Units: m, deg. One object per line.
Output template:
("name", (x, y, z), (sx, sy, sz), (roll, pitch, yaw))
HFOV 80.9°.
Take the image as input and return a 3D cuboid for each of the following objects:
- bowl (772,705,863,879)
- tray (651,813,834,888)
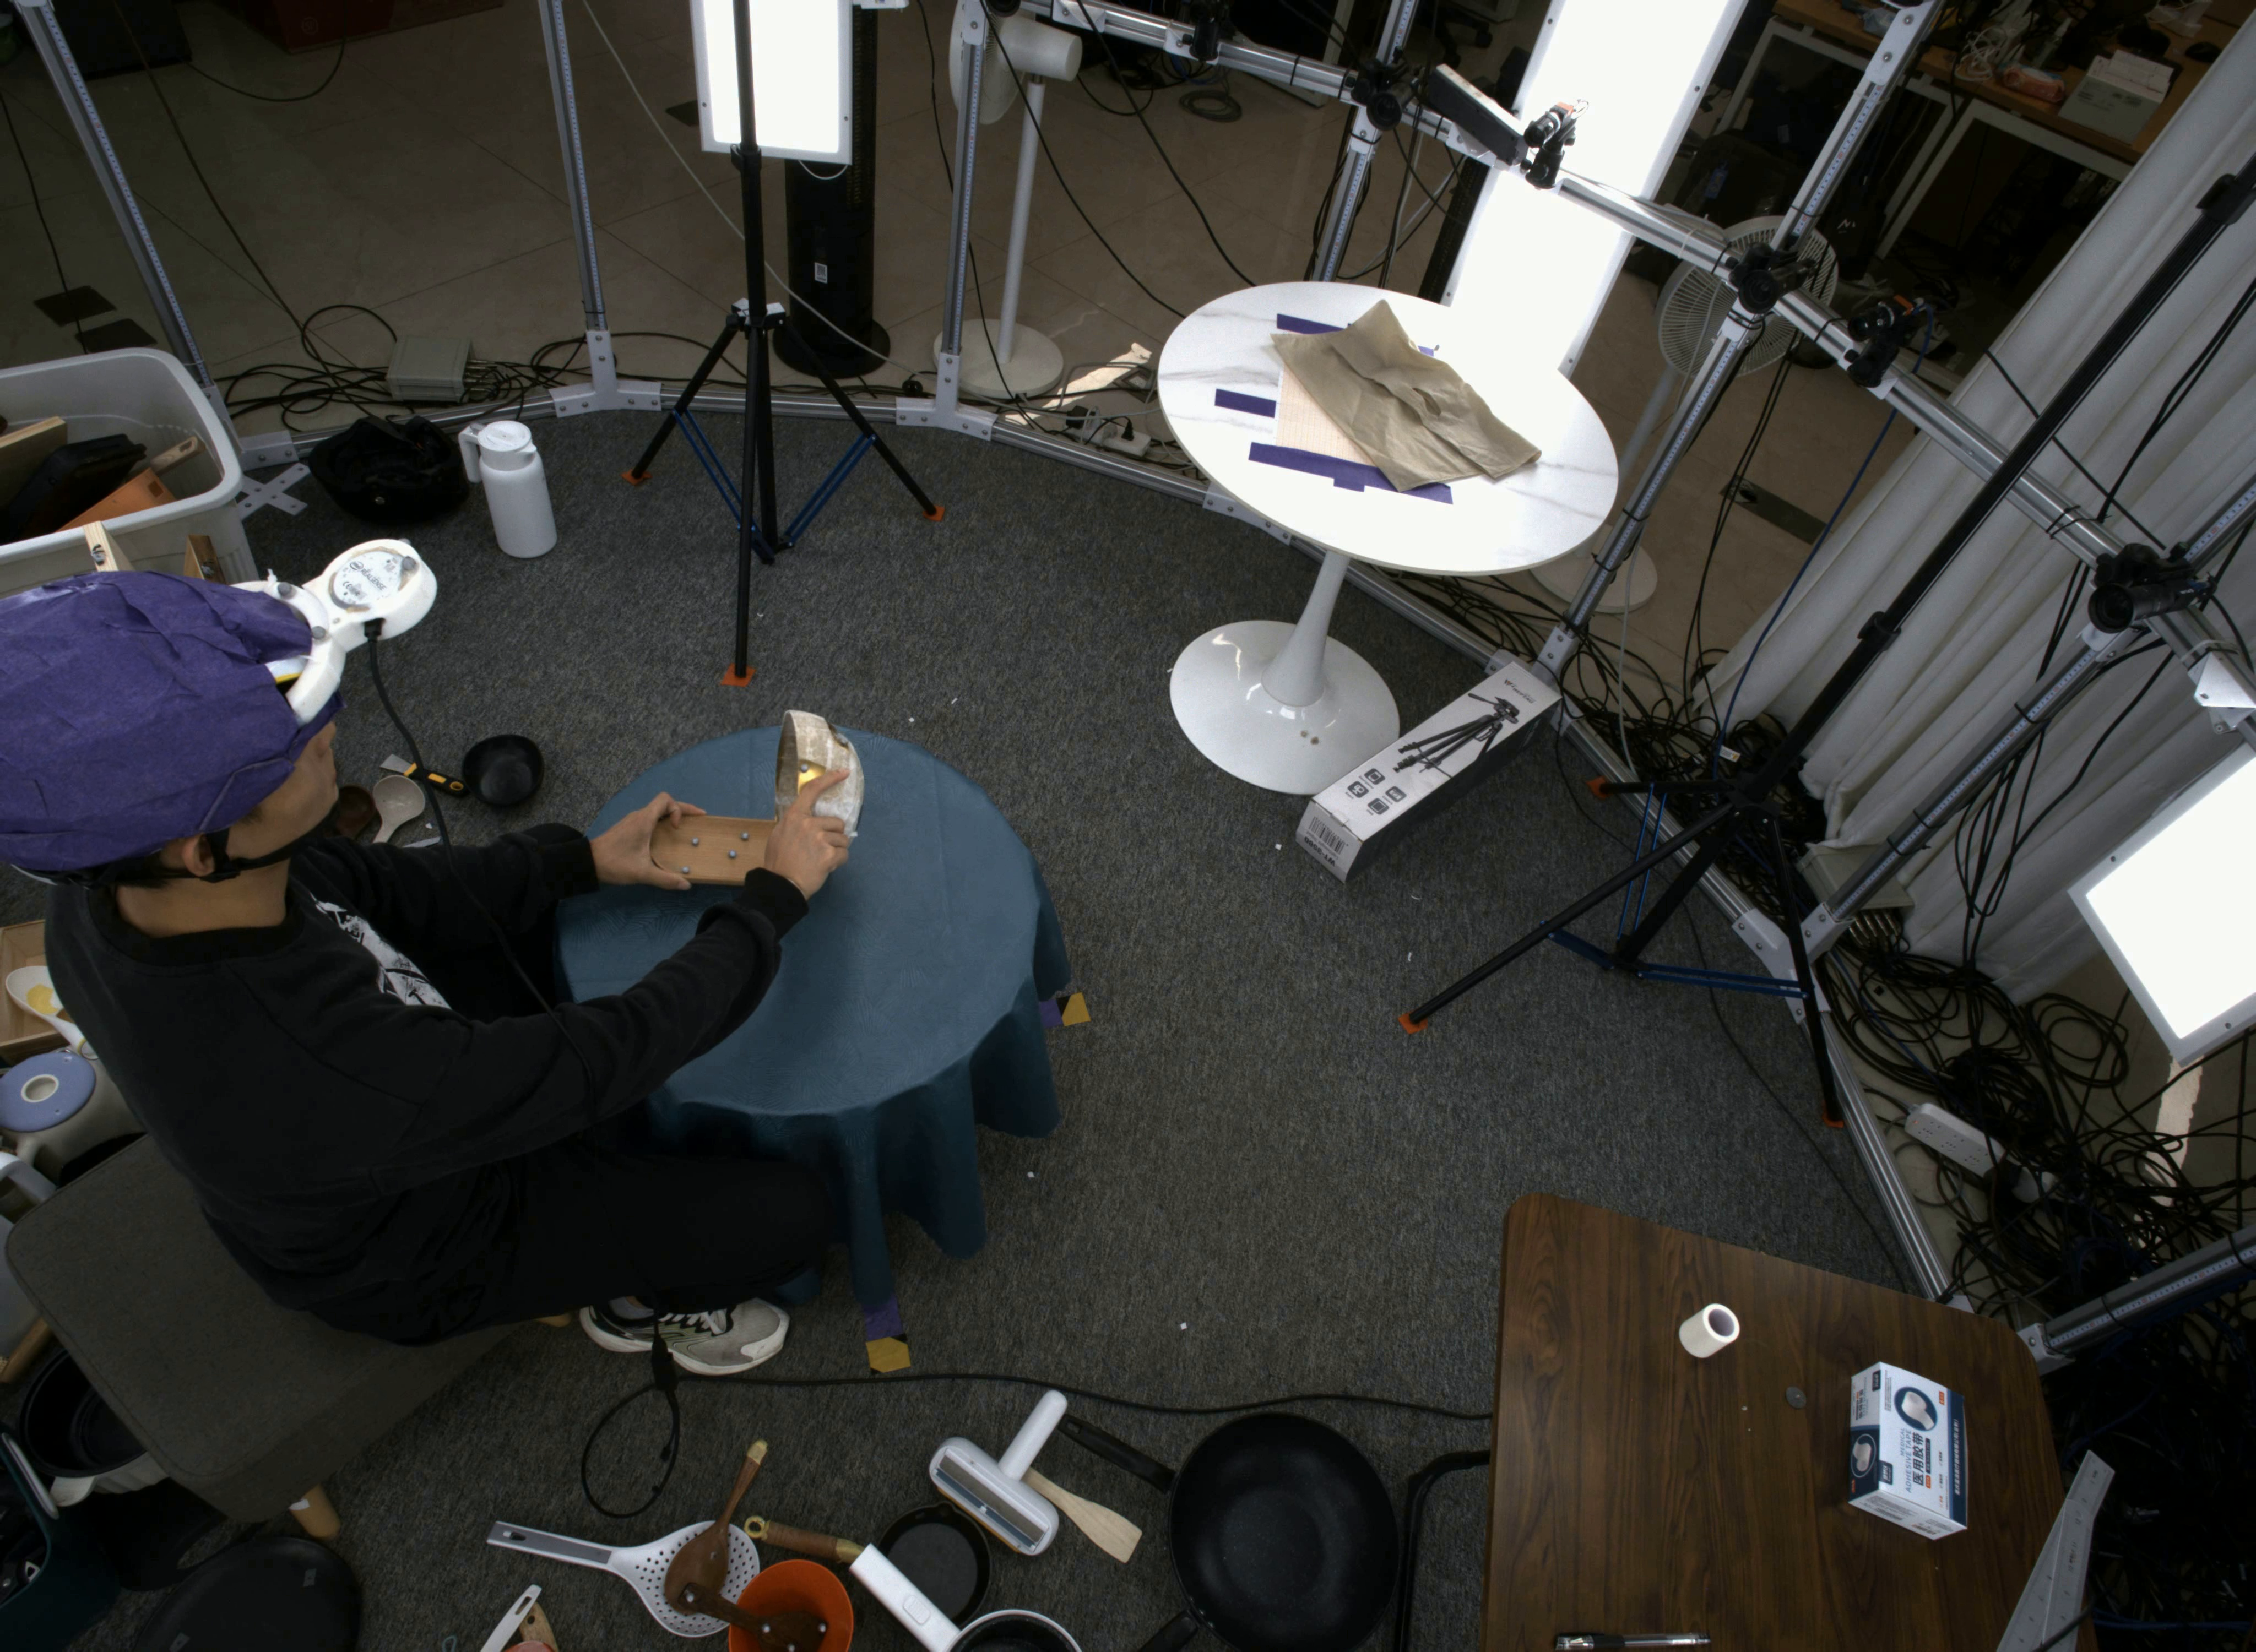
("bowl", (-0.377, -0.039, 1.583), (0.095, 0.217, 0.209), (1, 52, -23))
("tray", (-0.489, 0.031, 1.647), (0.235, 0.020, 0.099), (5, 54, -30))
